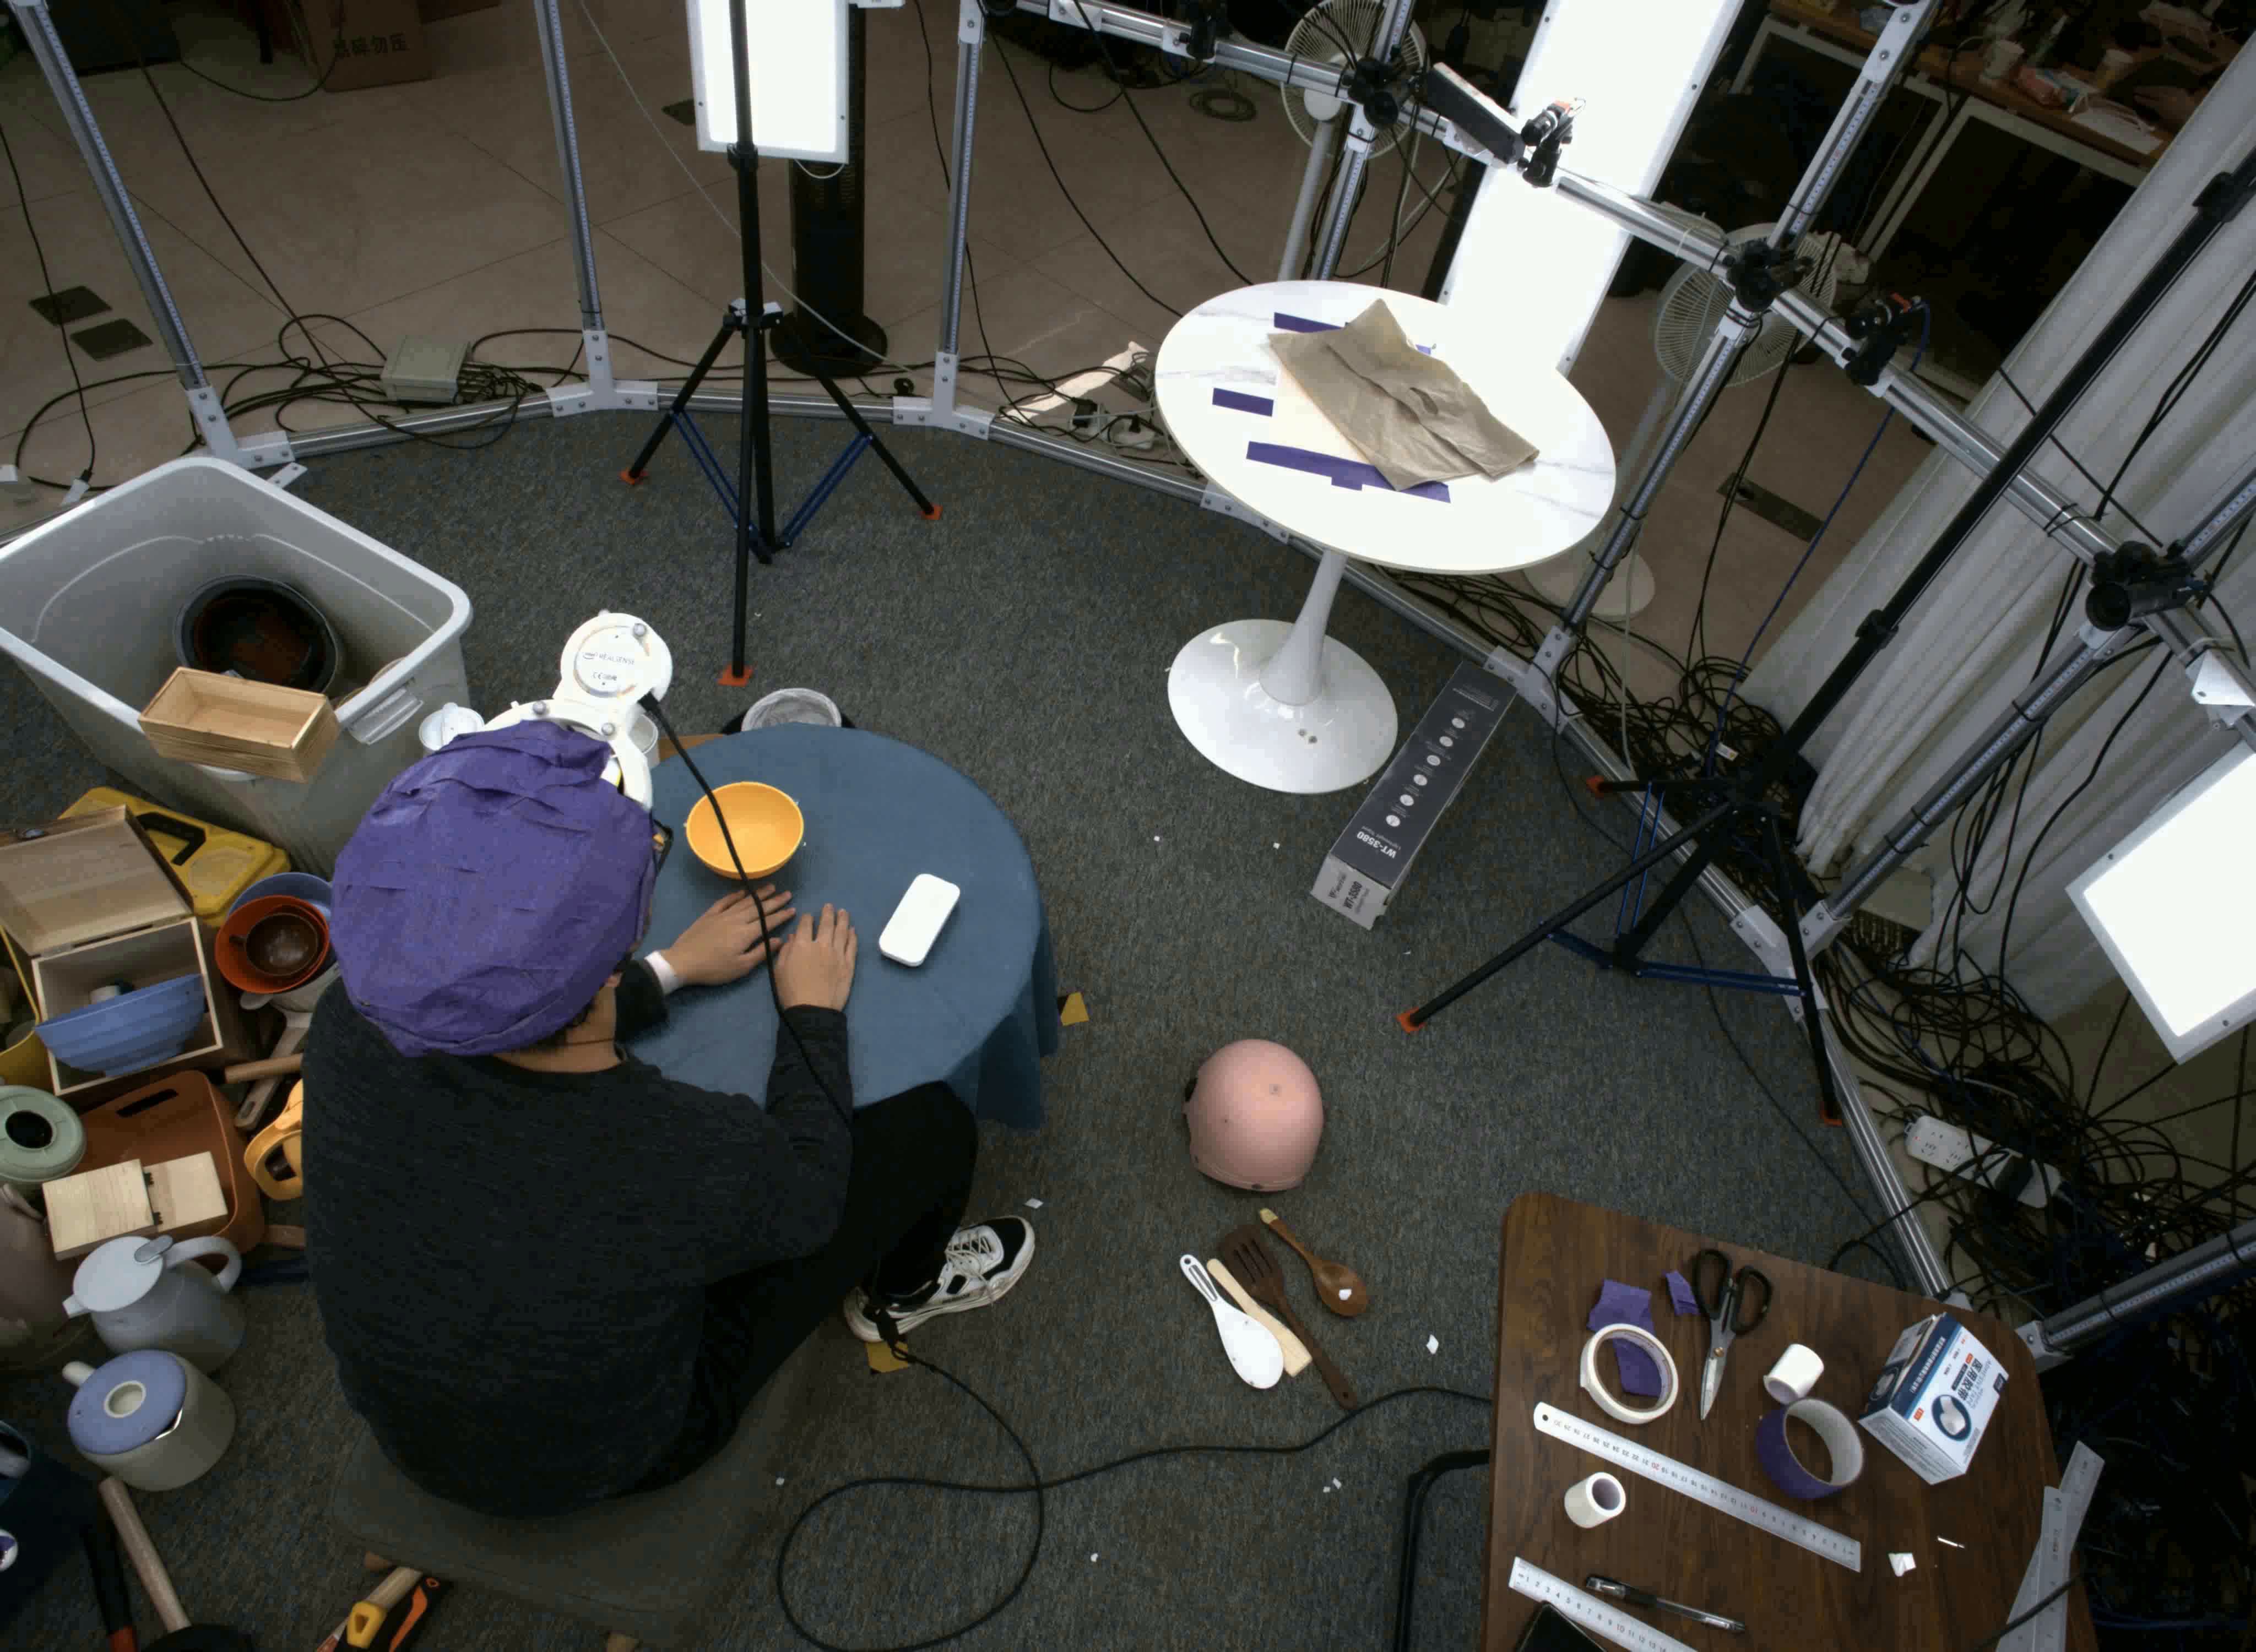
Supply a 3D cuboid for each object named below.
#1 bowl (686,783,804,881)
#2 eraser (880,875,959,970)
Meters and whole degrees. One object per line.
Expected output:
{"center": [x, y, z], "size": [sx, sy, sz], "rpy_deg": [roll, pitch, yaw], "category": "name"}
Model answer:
{"center": [-0.486, 0.018, 1.652], "size": [0.145, 0.061, 0.143], "rpy_deg": [7, 53, -7], "category": "bowl"}
{"center": [-0.265, 0.118, 1.652], "size": [0.062, 0.035, 0.130], "rpy_deg": [22, 51, 4], "category": "eraser"}
